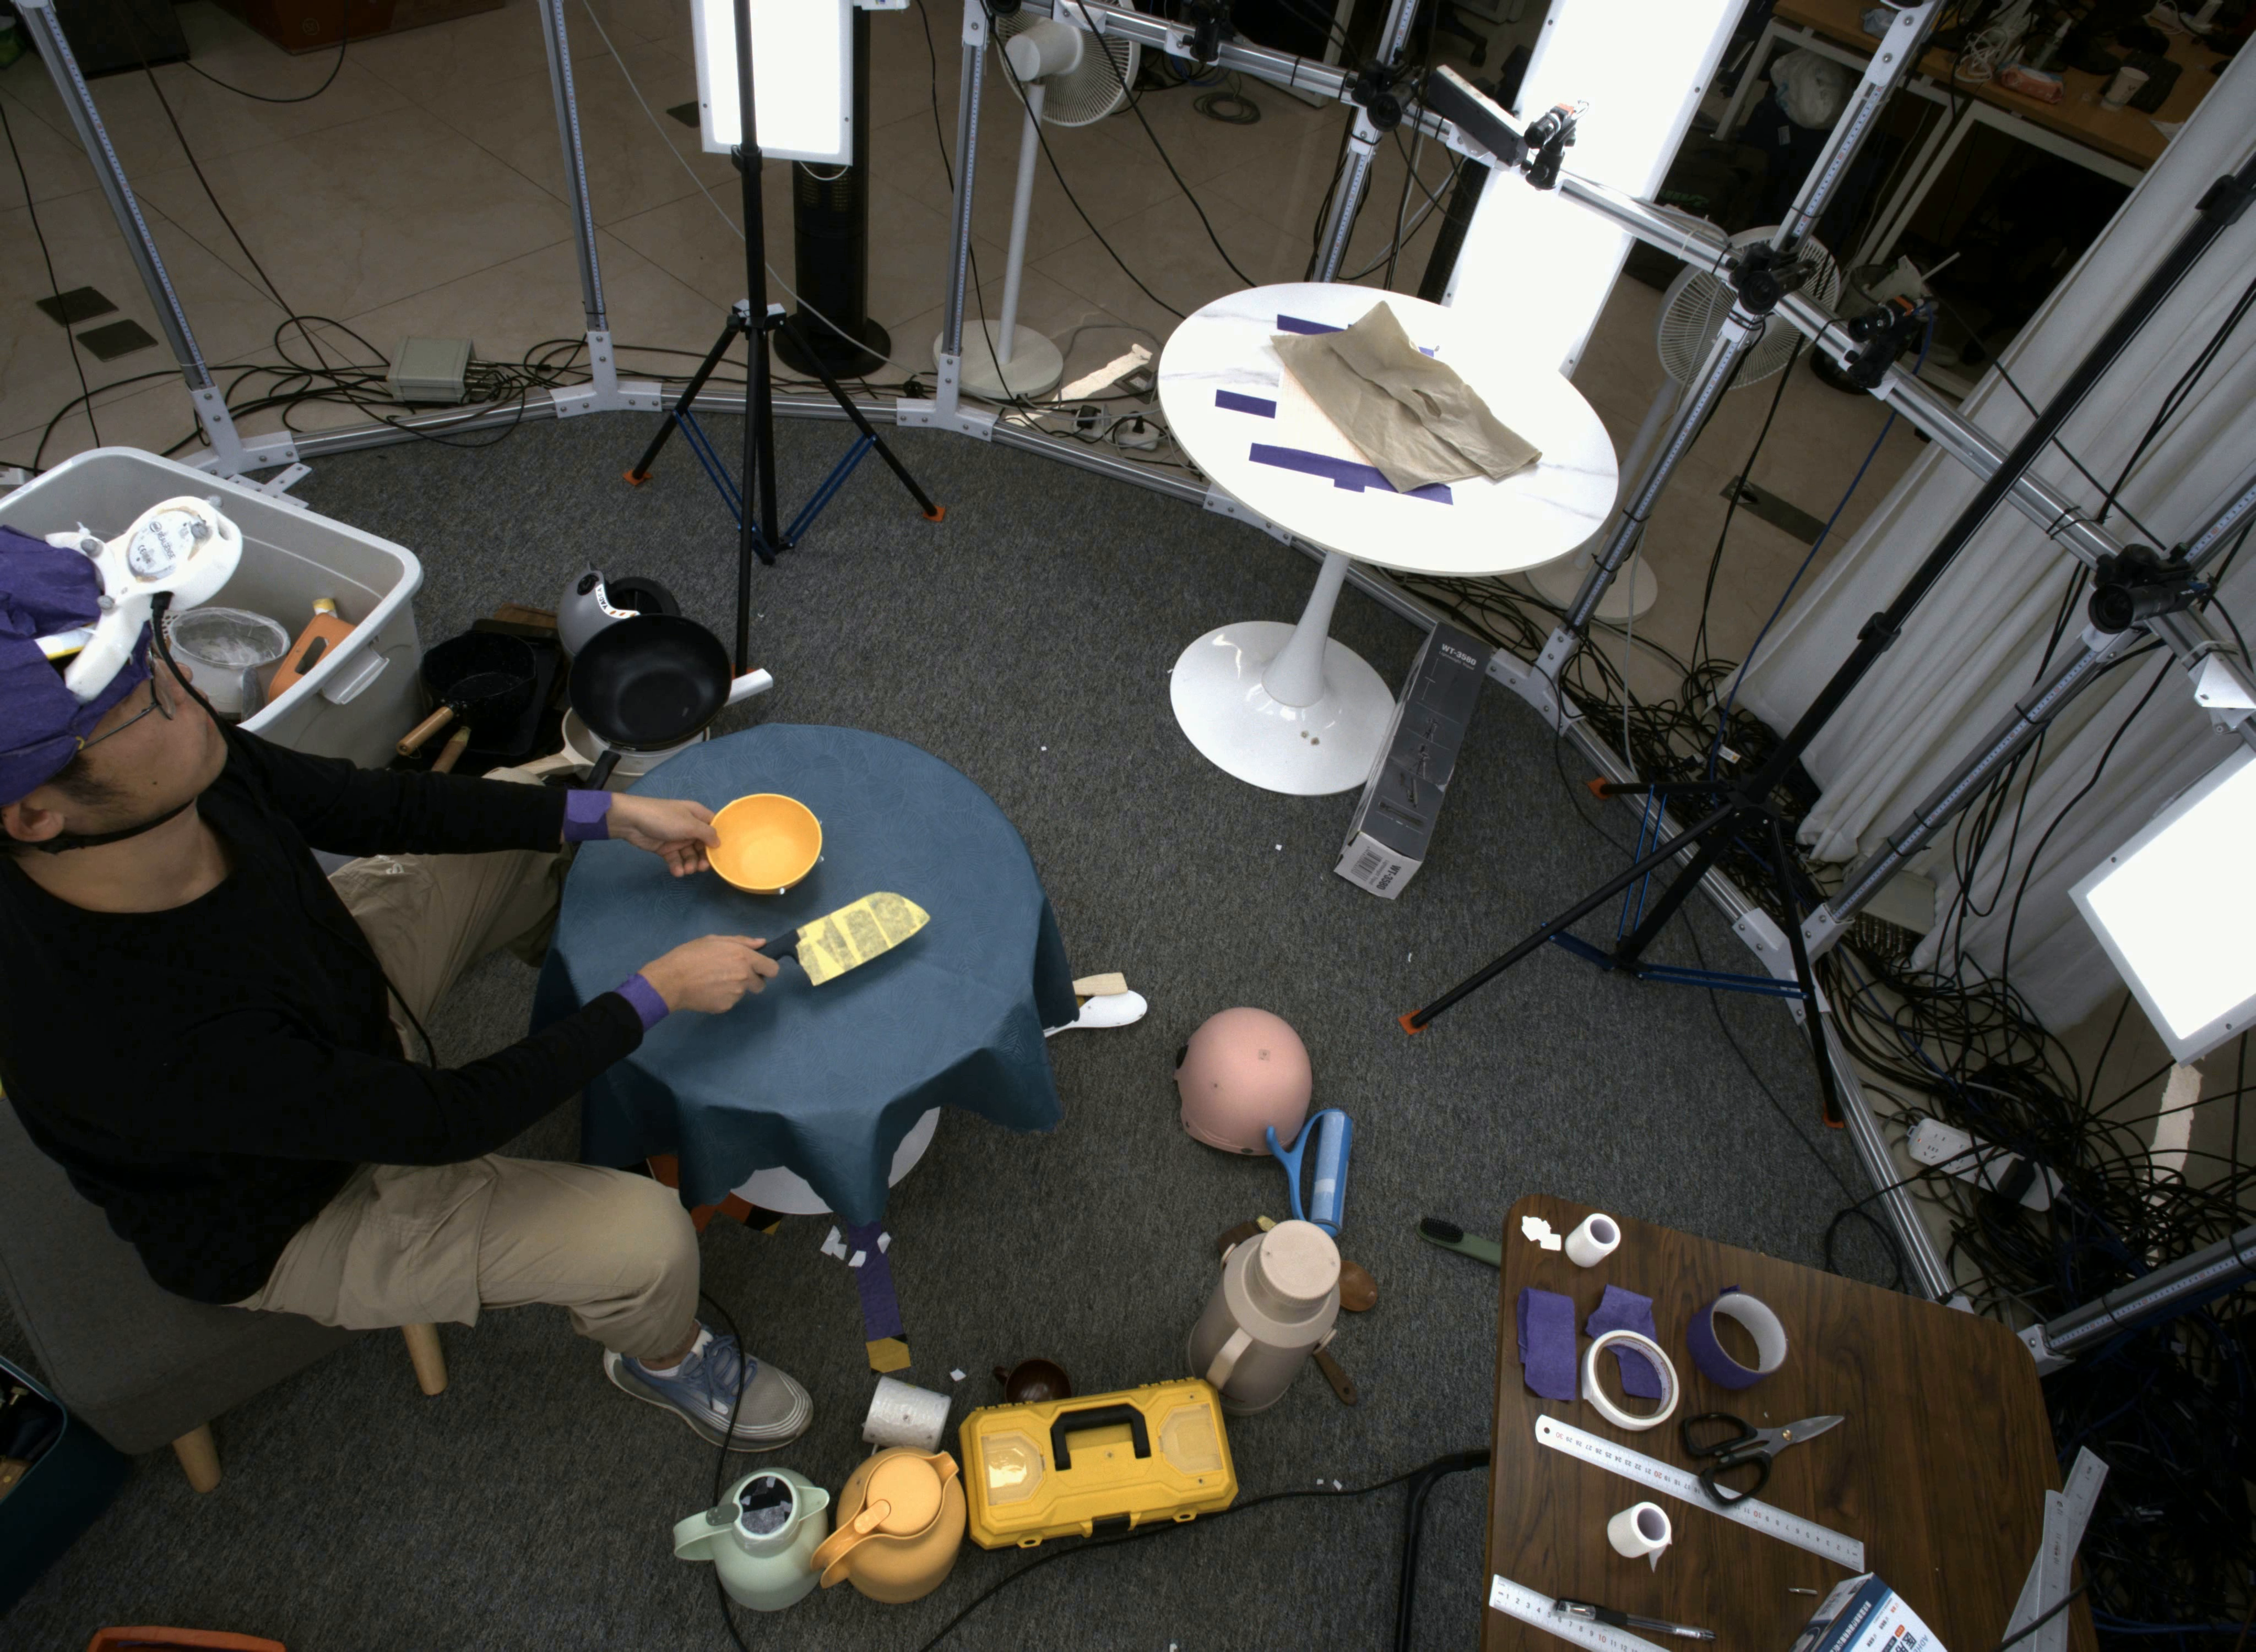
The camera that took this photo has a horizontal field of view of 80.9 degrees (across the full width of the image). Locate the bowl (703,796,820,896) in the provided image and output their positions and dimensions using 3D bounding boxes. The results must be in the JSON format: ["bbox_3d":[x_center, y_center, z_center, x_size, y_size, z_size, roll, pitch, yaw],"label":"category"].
[{"bbox_3d":[-0.463,0.035,1.645,0.145,0.061,0.143,7,53,-8],"label":"bowl"}]

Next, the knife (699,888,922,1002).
[{"bbox_3d":[-0.375,0.148,1.563,0.291,0.027,0.081,-25,82,-29],"label":"knife"}]
